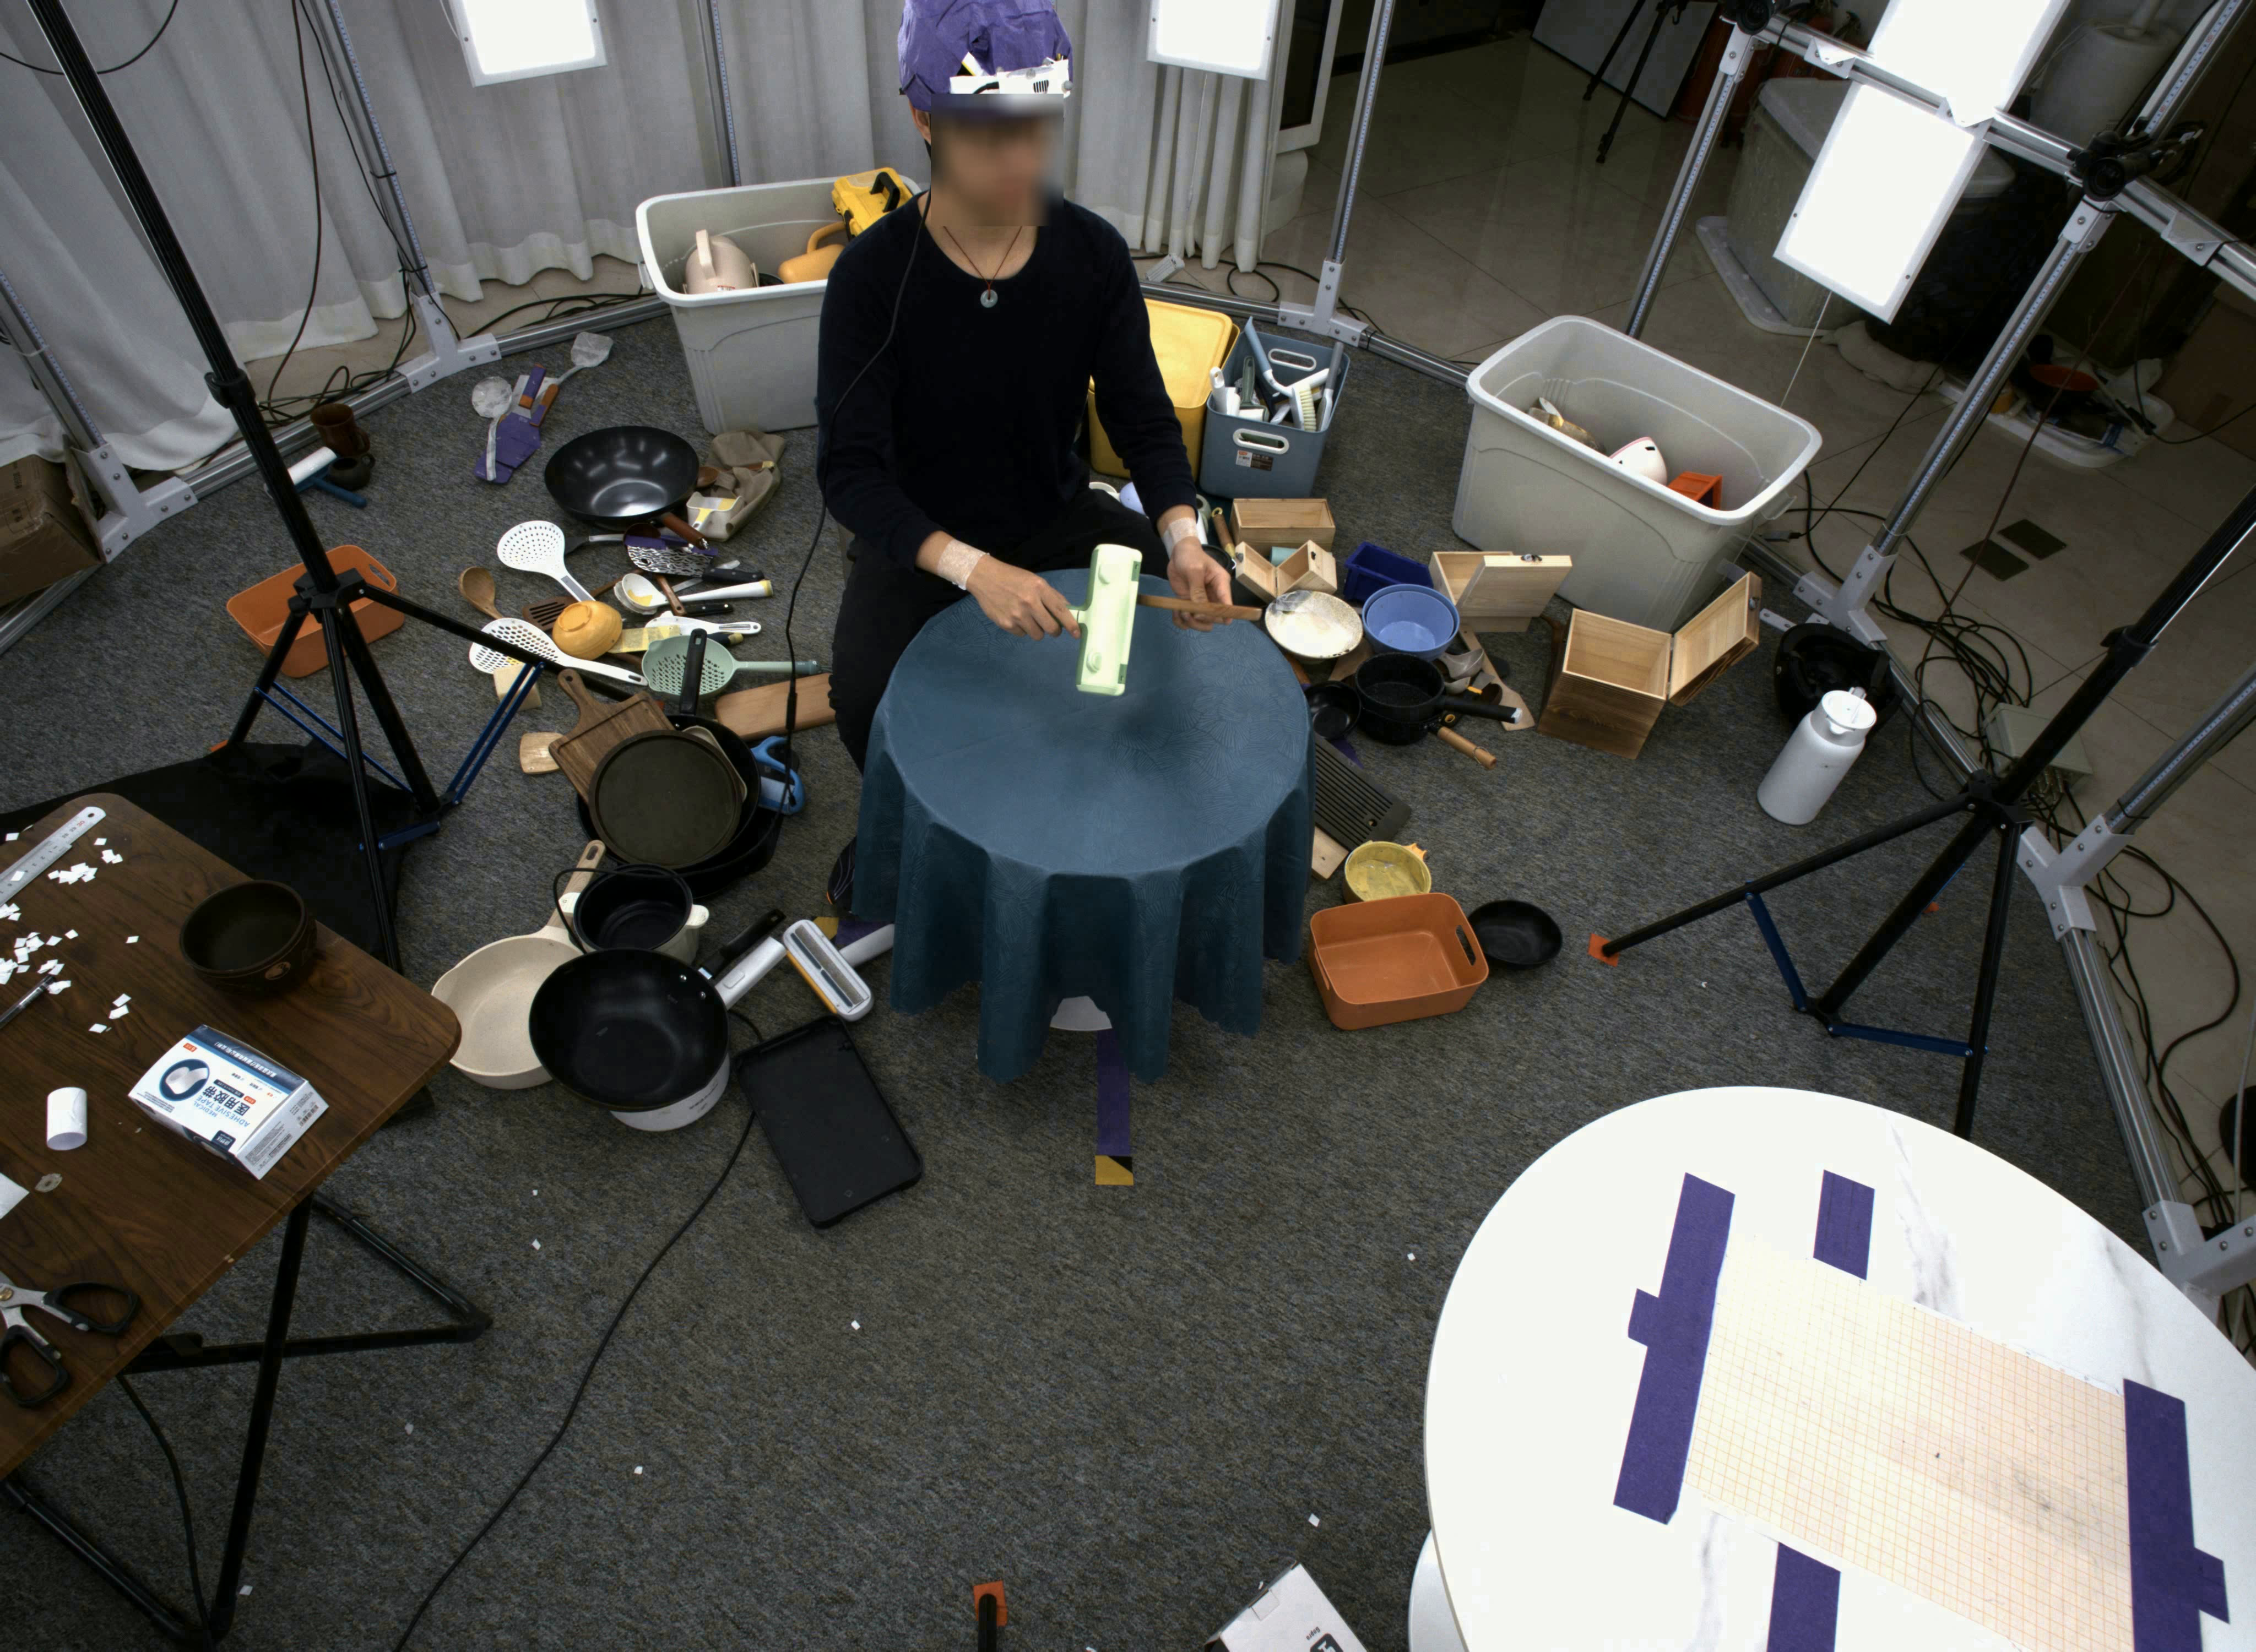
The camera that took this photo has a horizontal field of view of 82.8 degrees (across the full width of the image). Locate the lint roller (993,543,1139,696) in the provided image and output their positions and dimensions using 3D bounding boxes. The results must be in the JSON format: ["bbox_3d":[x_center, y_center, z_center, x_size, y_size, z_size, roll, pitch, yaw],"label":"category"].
[{"bbox_3d":[-0.086,-0.279,1.687,0.183,0.082,0.199,7,89,-4],"label":"lint roller"}]

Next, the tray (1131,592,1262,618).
[{"bbox_3d":[0.086,-0.289,1.682,0.101,0.020,0.233,4,8,-31],"label":"tray"}]
